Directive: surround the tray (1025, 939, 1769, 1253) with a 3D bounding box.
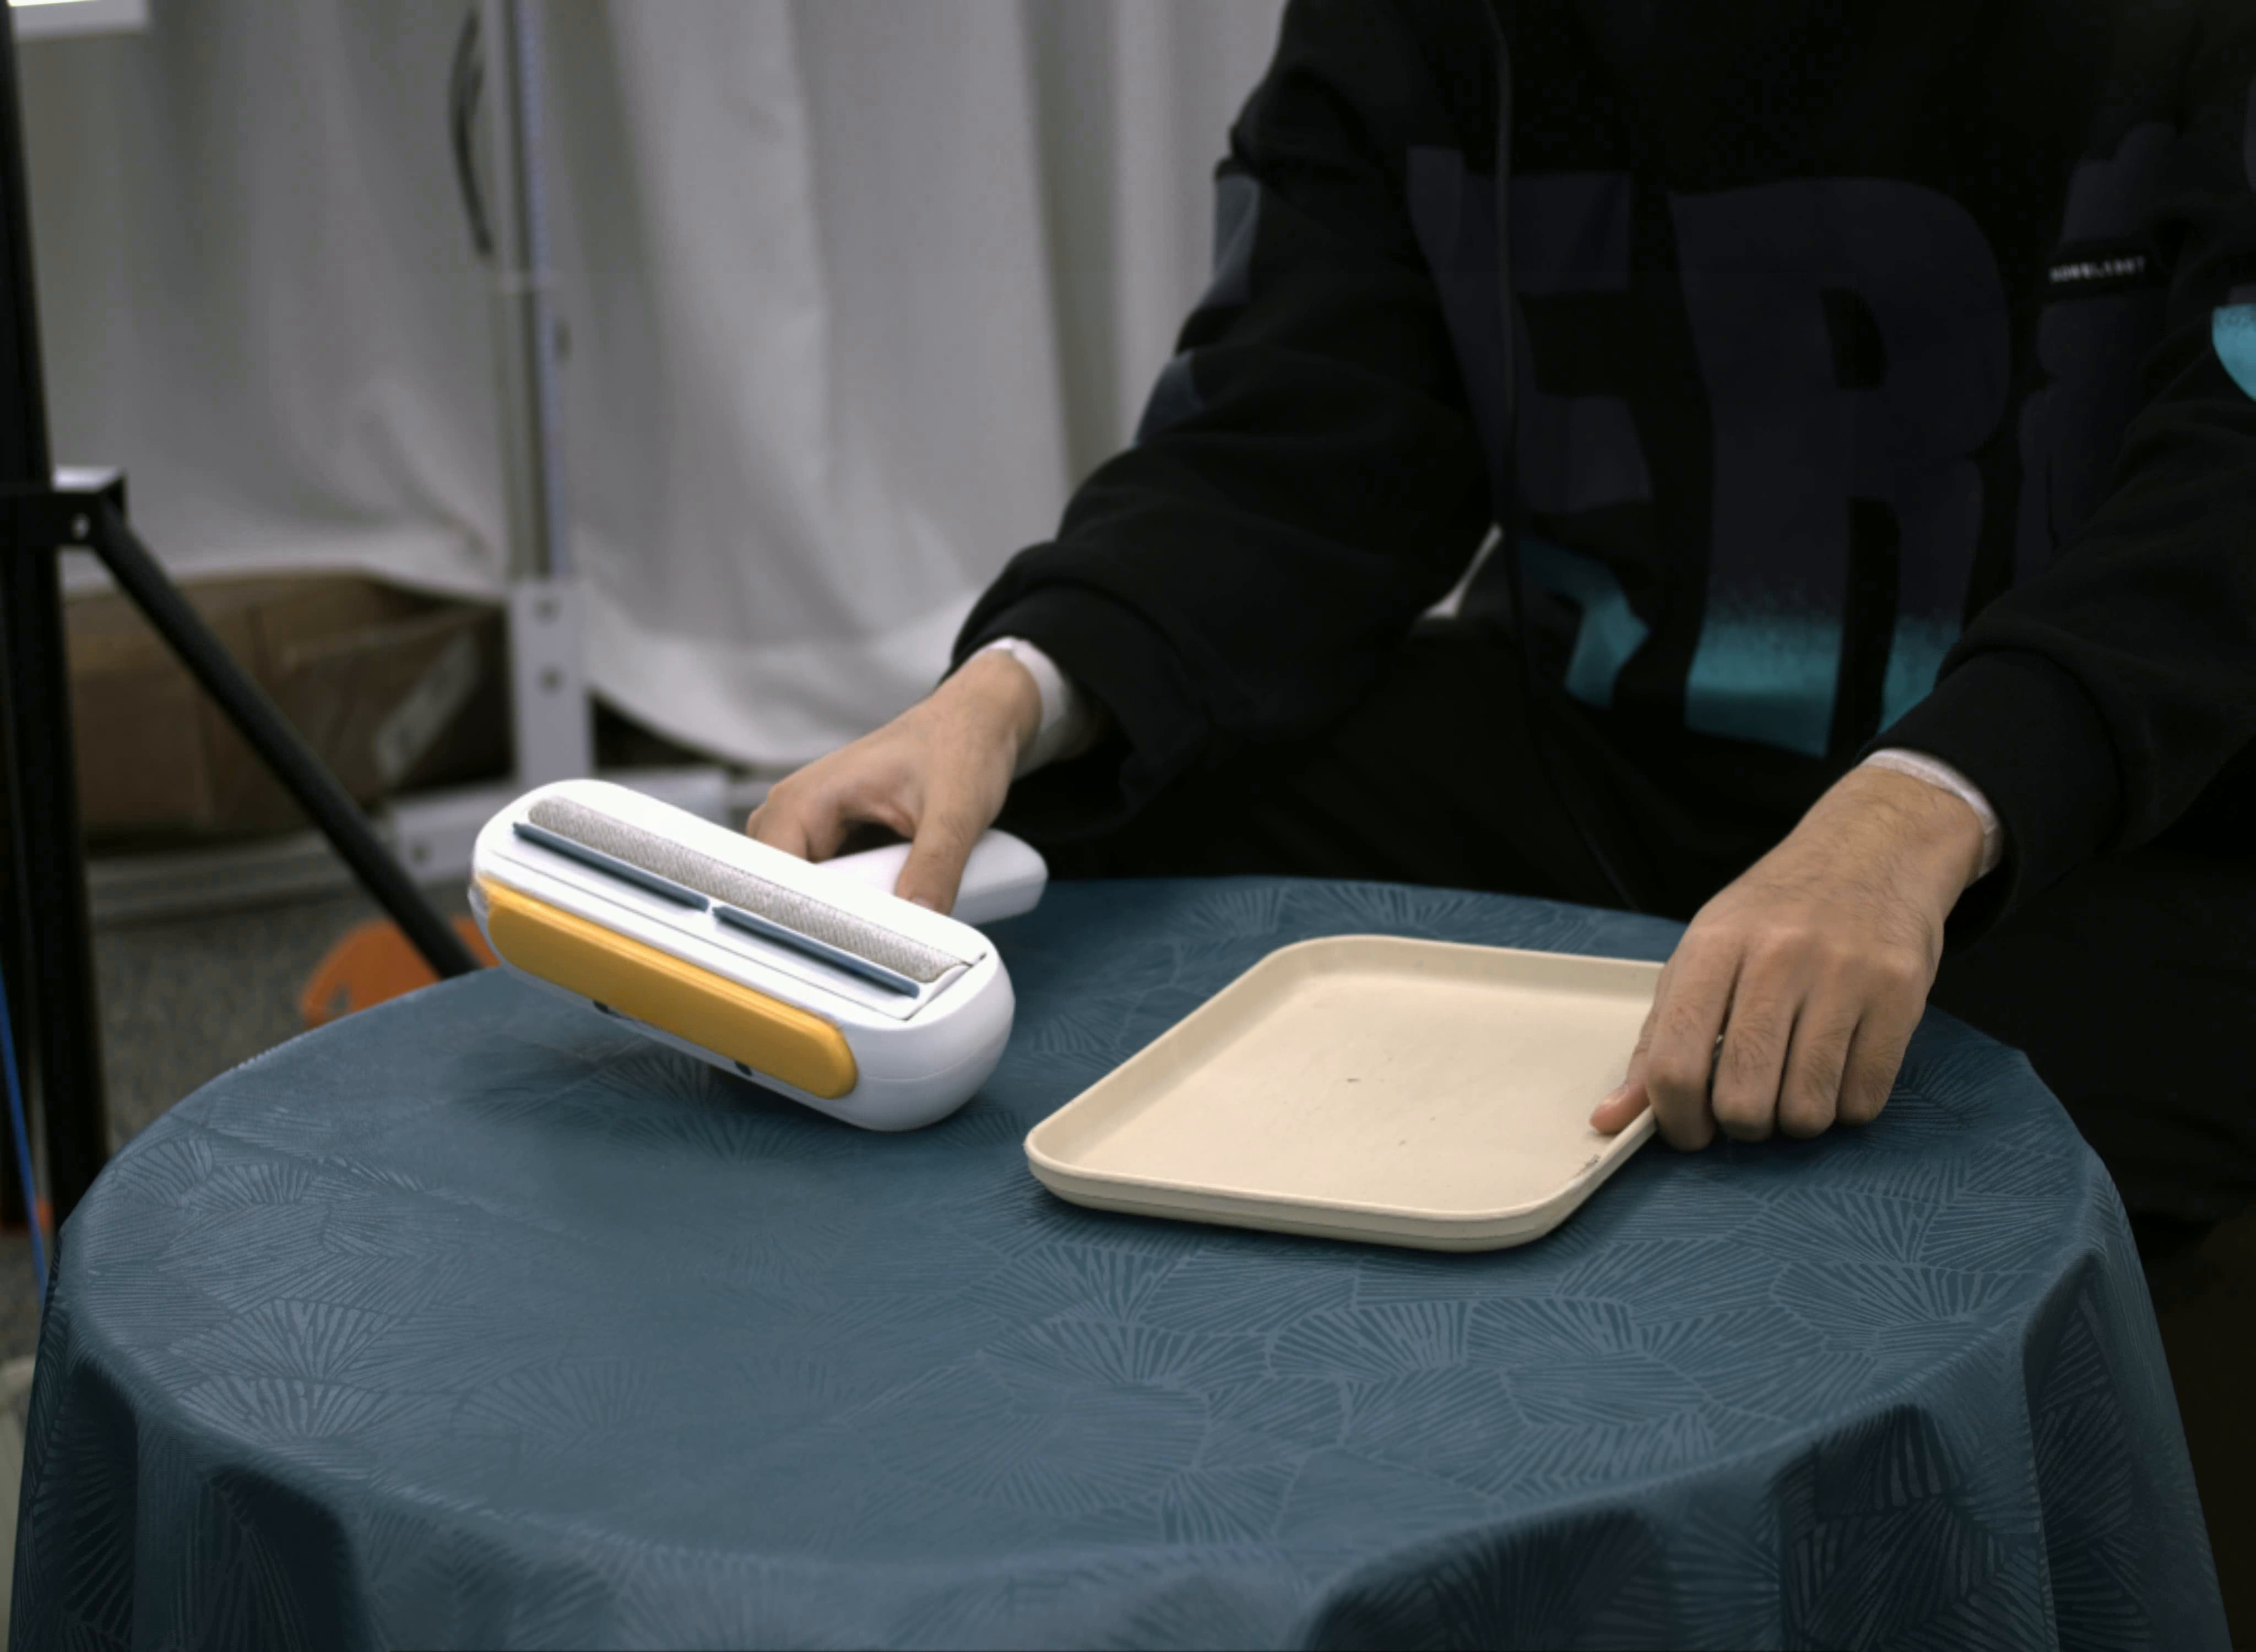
[{"bbox_3d":[0.086,0.081,1.607,0.174,0.017,0.236,4,17,26],"label":"tray"}]

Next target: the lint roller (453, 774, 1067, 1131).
[{"bbox_3d":[-0.091,0.026,1.713,0.197,0.074,0.188,19,31,37],"label":"lint roller"}]
